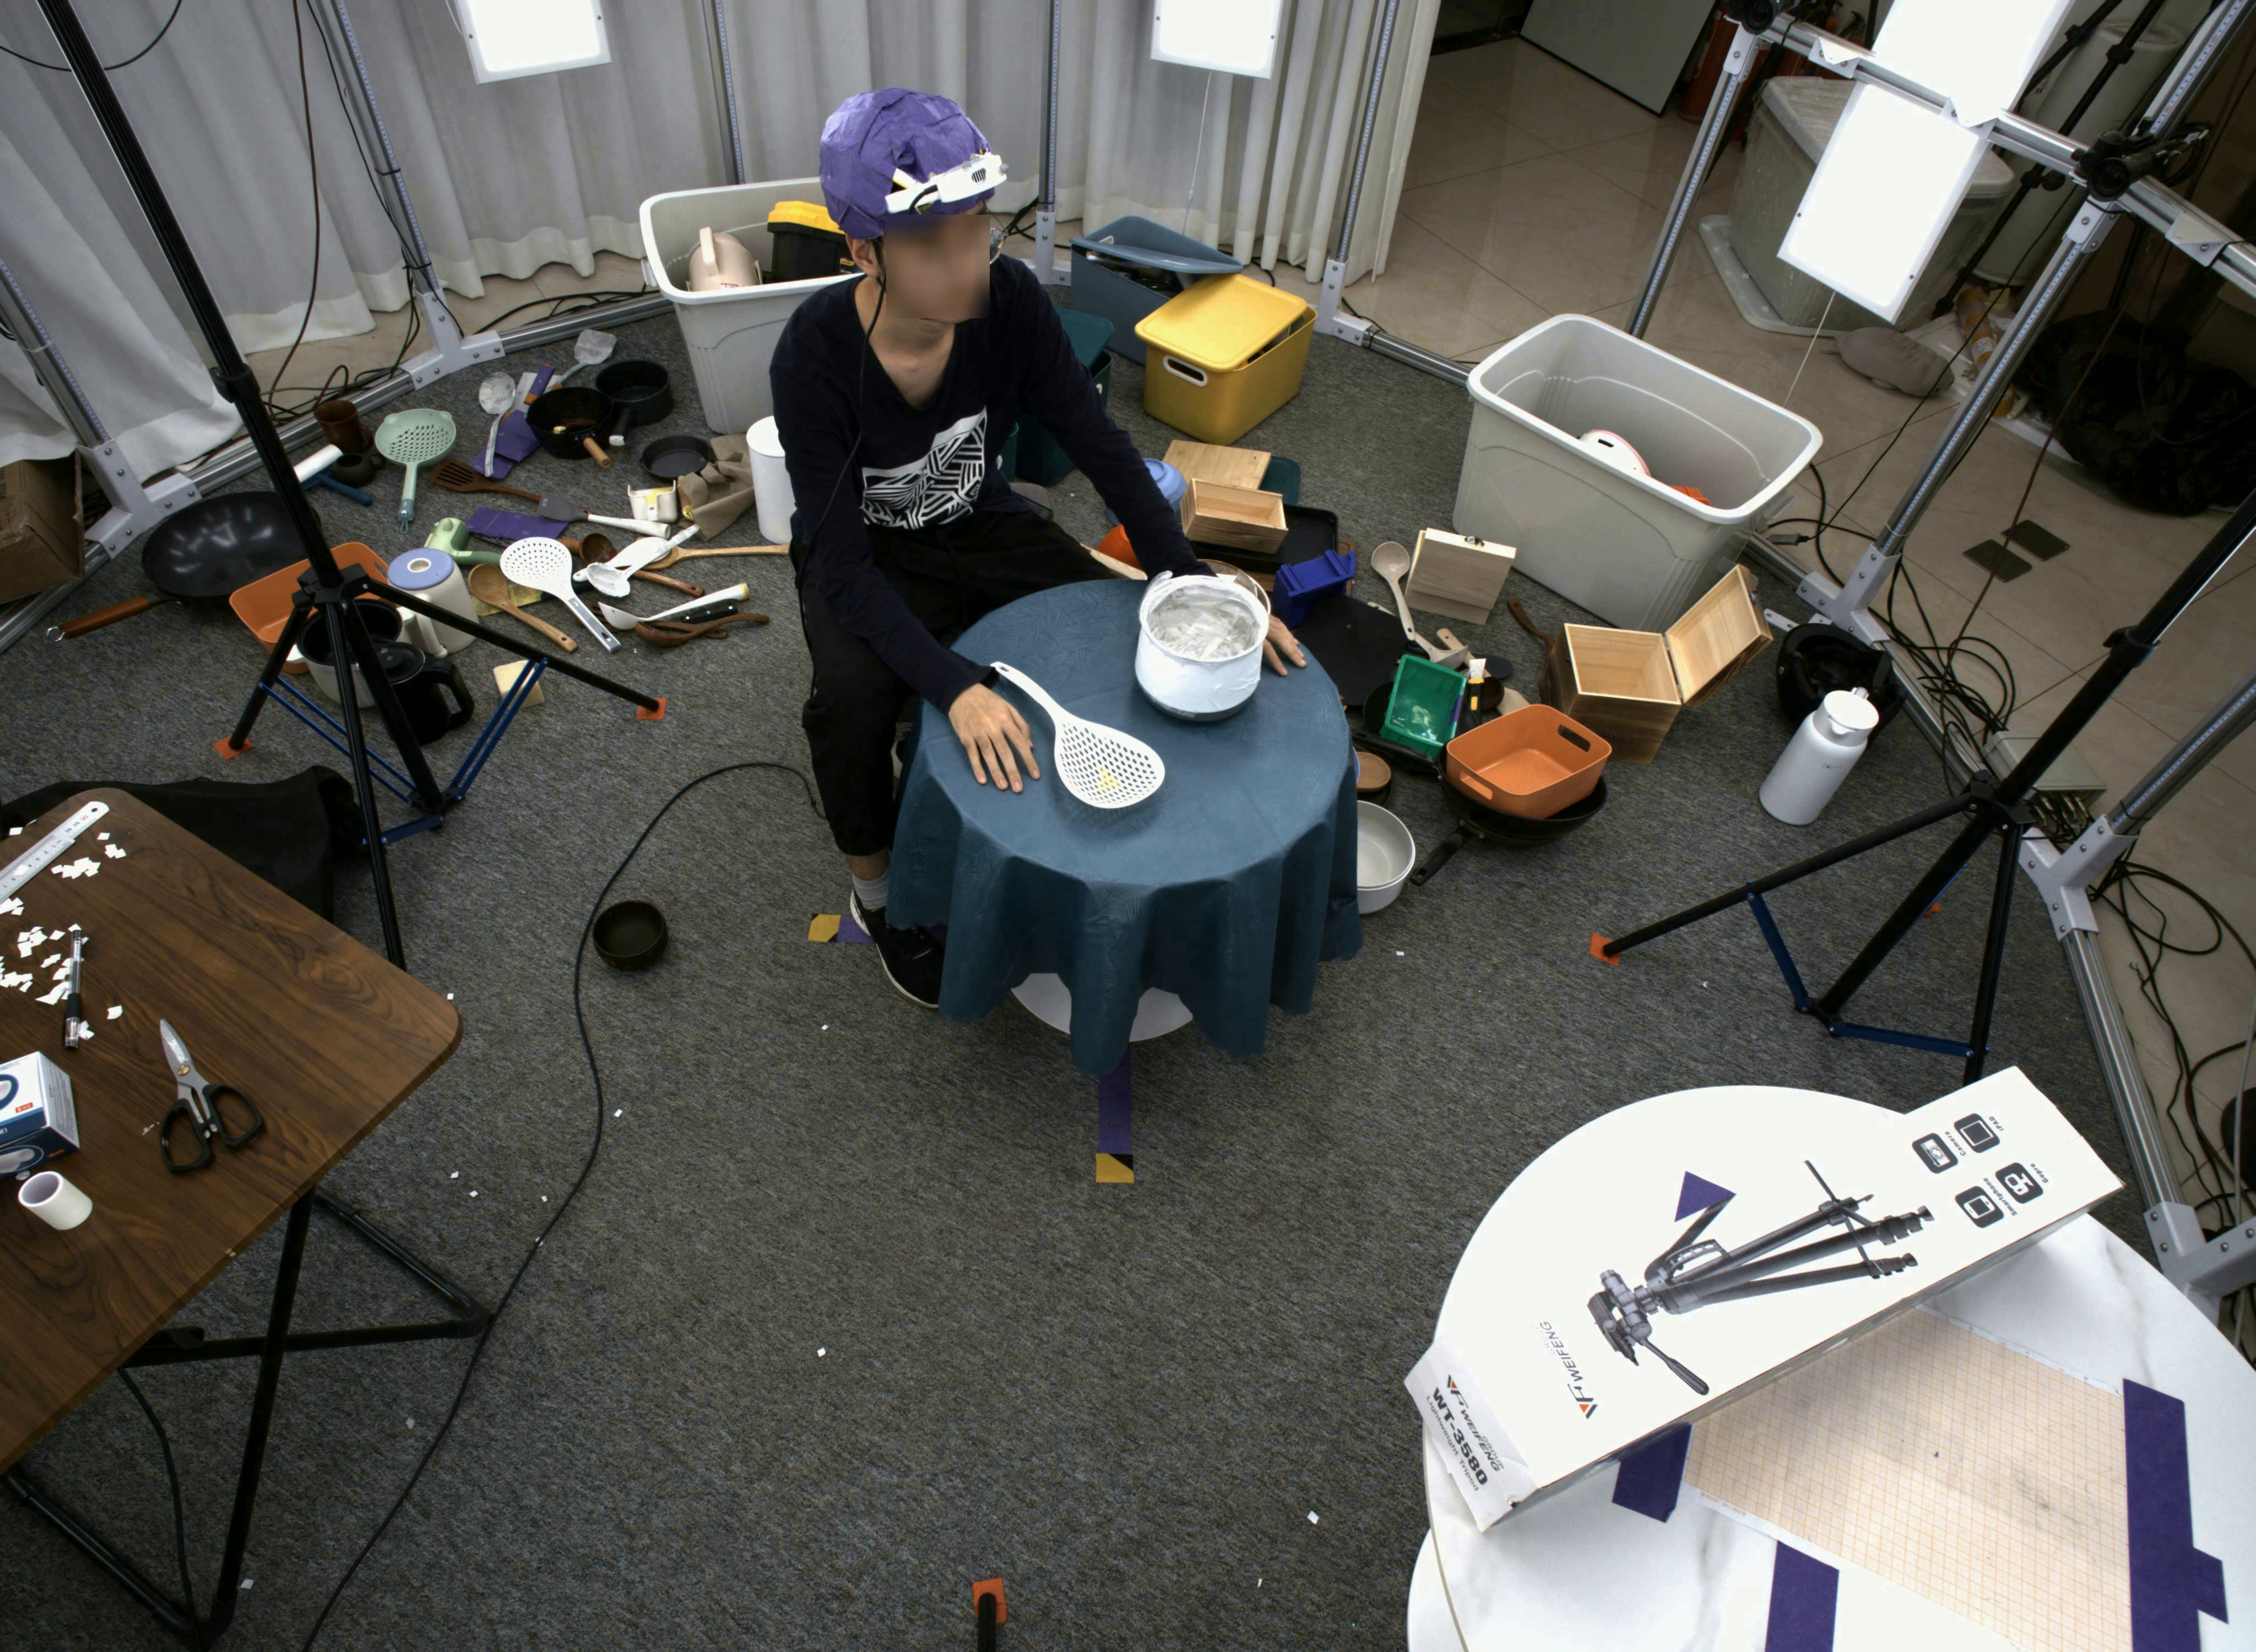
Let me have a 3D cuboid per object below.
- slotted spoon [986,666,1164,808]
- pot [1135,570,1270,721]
[{"bbox_3d":[-0.088,-0.134,1.750,0.137,0.049,0.354,-28,57,-24],"label":"slotted spoon"},{"bbox_3d":[0.086,-0.264,1.814,0.179,0.133,0.238,-21,54,-24],"label":"pot"}]
